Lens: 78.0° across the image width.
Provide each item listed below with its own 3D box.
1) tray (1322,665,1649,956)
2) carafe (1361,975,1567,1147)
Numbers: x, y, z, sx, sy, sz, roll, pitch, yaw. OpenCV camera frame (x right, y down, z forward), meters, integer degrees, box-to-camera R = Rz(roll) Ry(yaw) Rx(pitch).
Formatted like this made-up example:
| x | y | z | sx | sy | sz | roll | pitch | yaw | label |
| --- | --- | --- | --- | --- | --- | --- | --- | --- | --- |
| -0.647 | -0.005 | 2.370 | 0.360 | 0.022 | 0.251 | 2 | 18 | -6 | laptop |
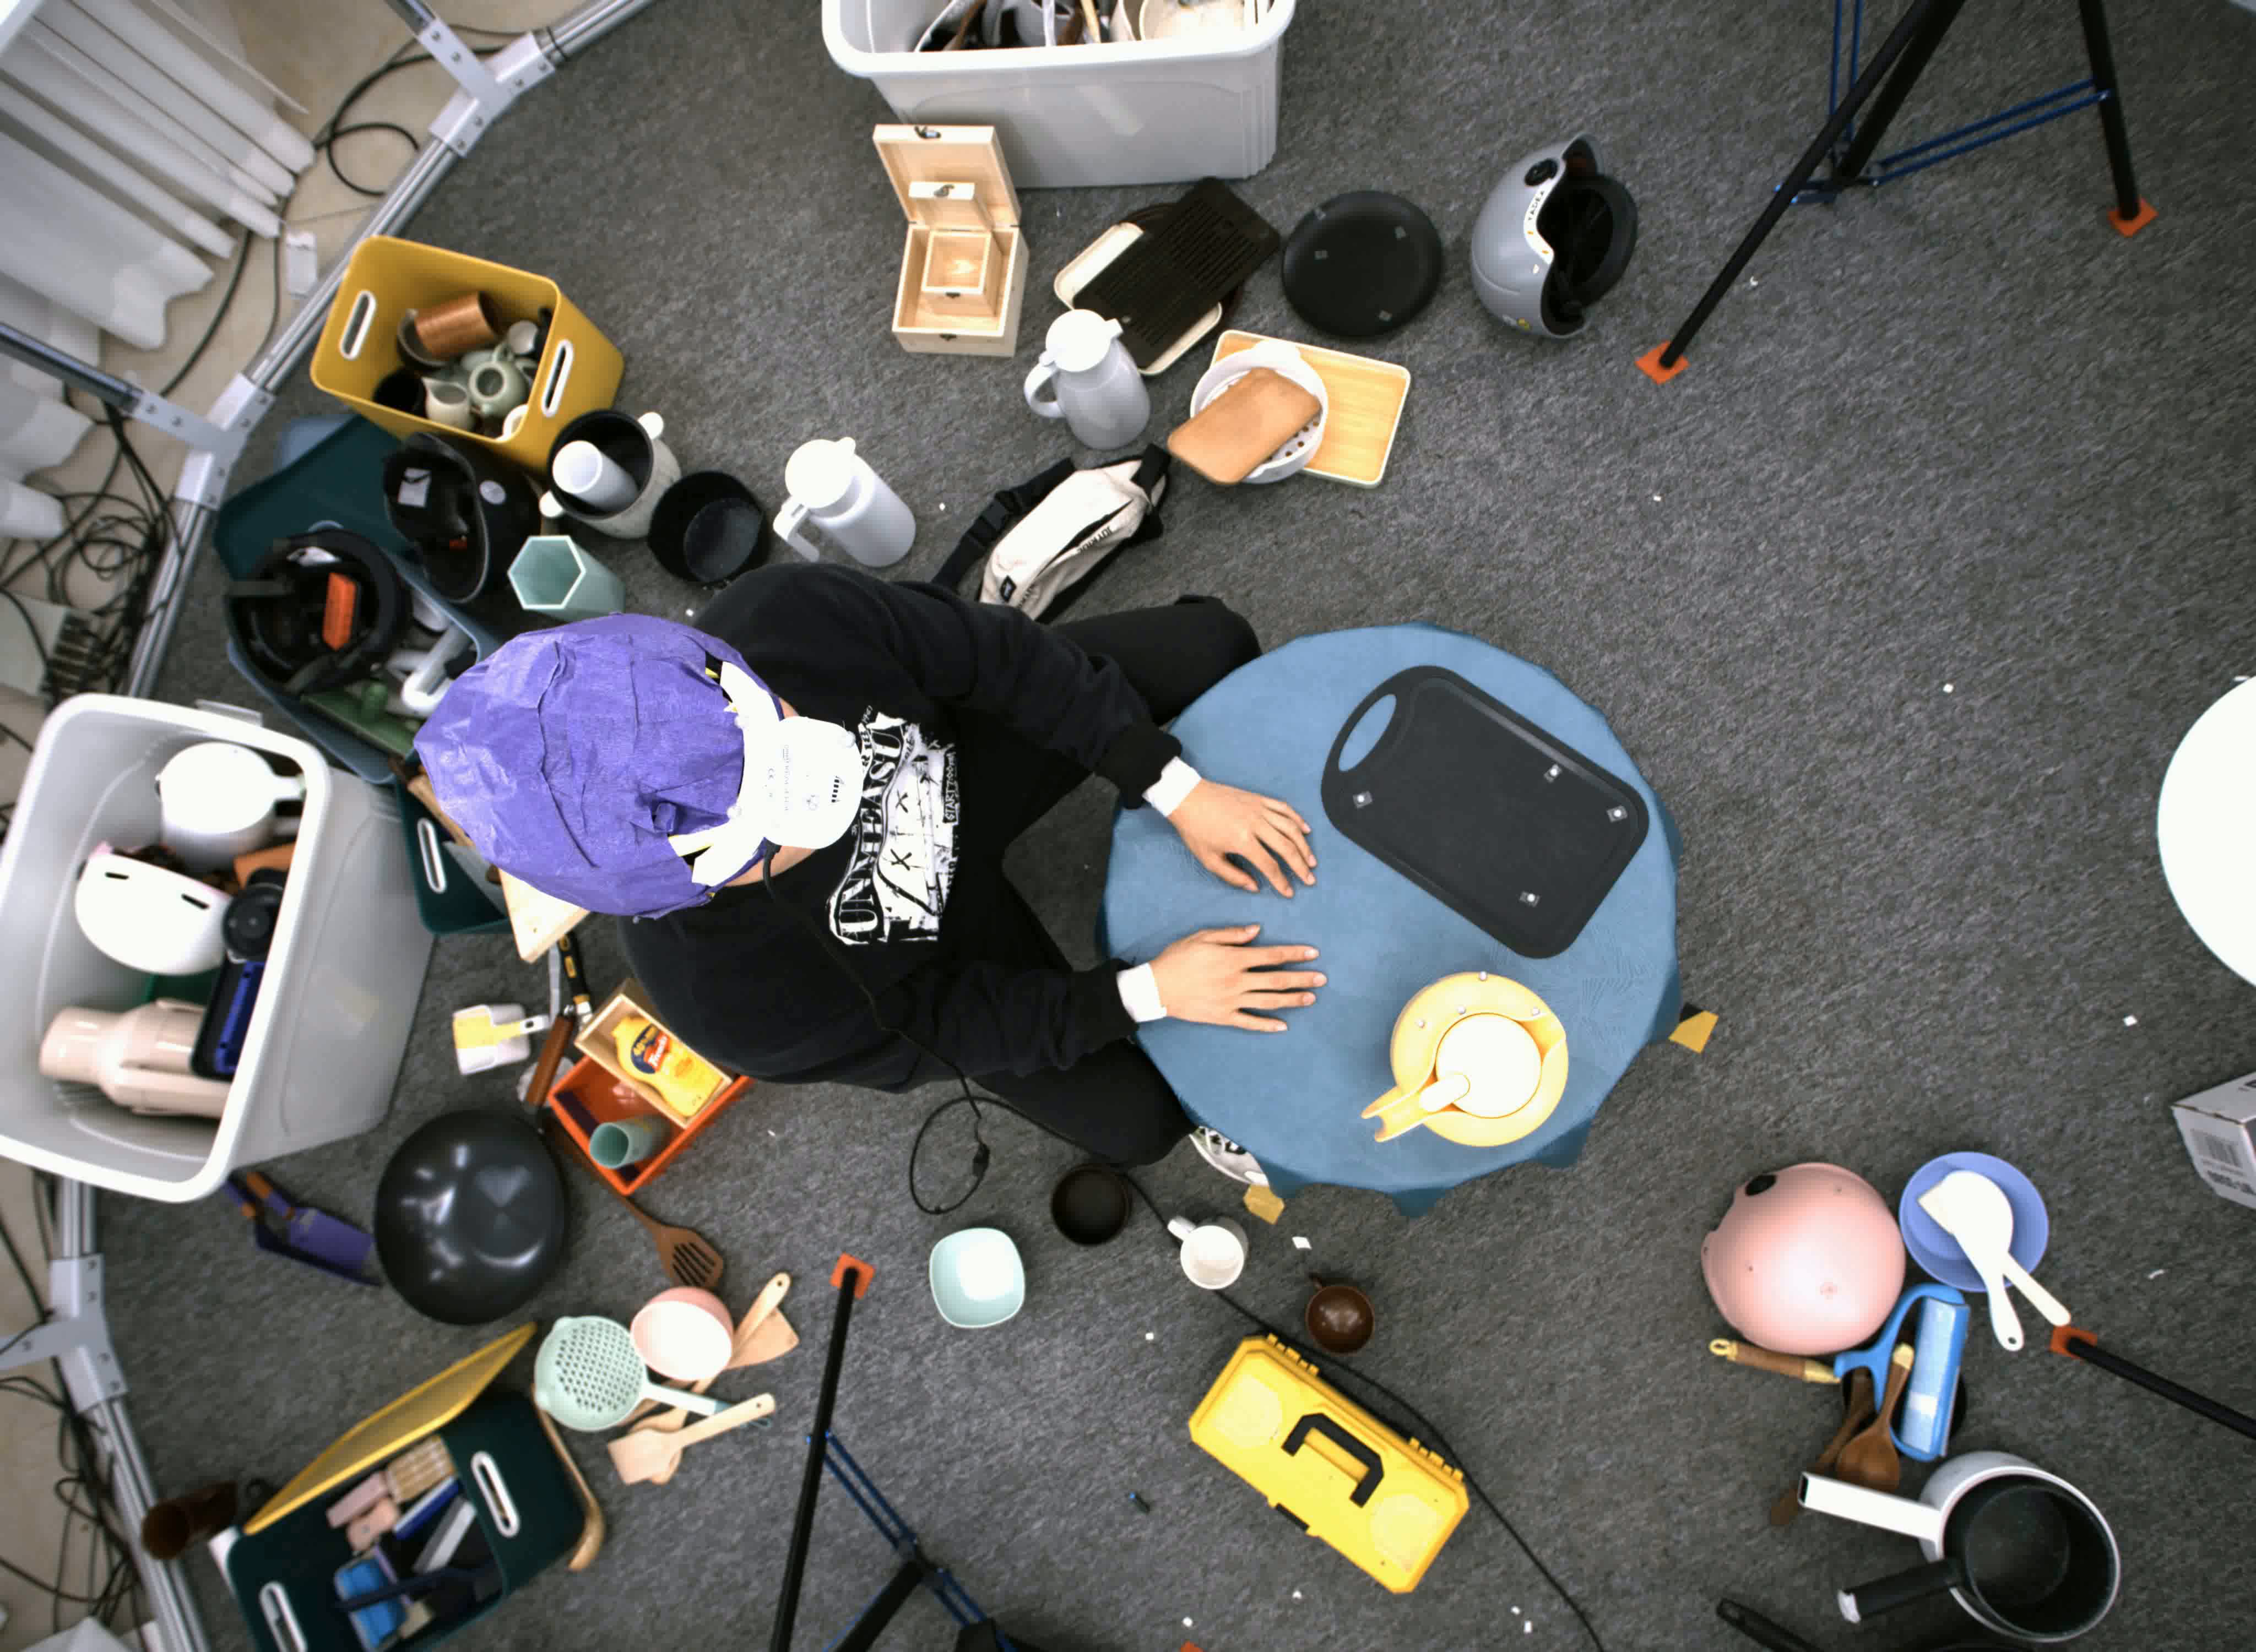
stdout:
| x | y | z | sx | sy | sz | roll | pitch | yaw | label |
| --- | --- | --- | --- | --- | --- | --- | --- | --- | --- |
| 0.366 | -0.025 | 1.444 | 0.324 | 0.010 | 0.211 | 36 | 94 | 11 | tray |
| 0.315 | 0.228 | 1.312 | 0.203 | 0.261 | 0.162 | -29 | 79 | 6 | carafe |
